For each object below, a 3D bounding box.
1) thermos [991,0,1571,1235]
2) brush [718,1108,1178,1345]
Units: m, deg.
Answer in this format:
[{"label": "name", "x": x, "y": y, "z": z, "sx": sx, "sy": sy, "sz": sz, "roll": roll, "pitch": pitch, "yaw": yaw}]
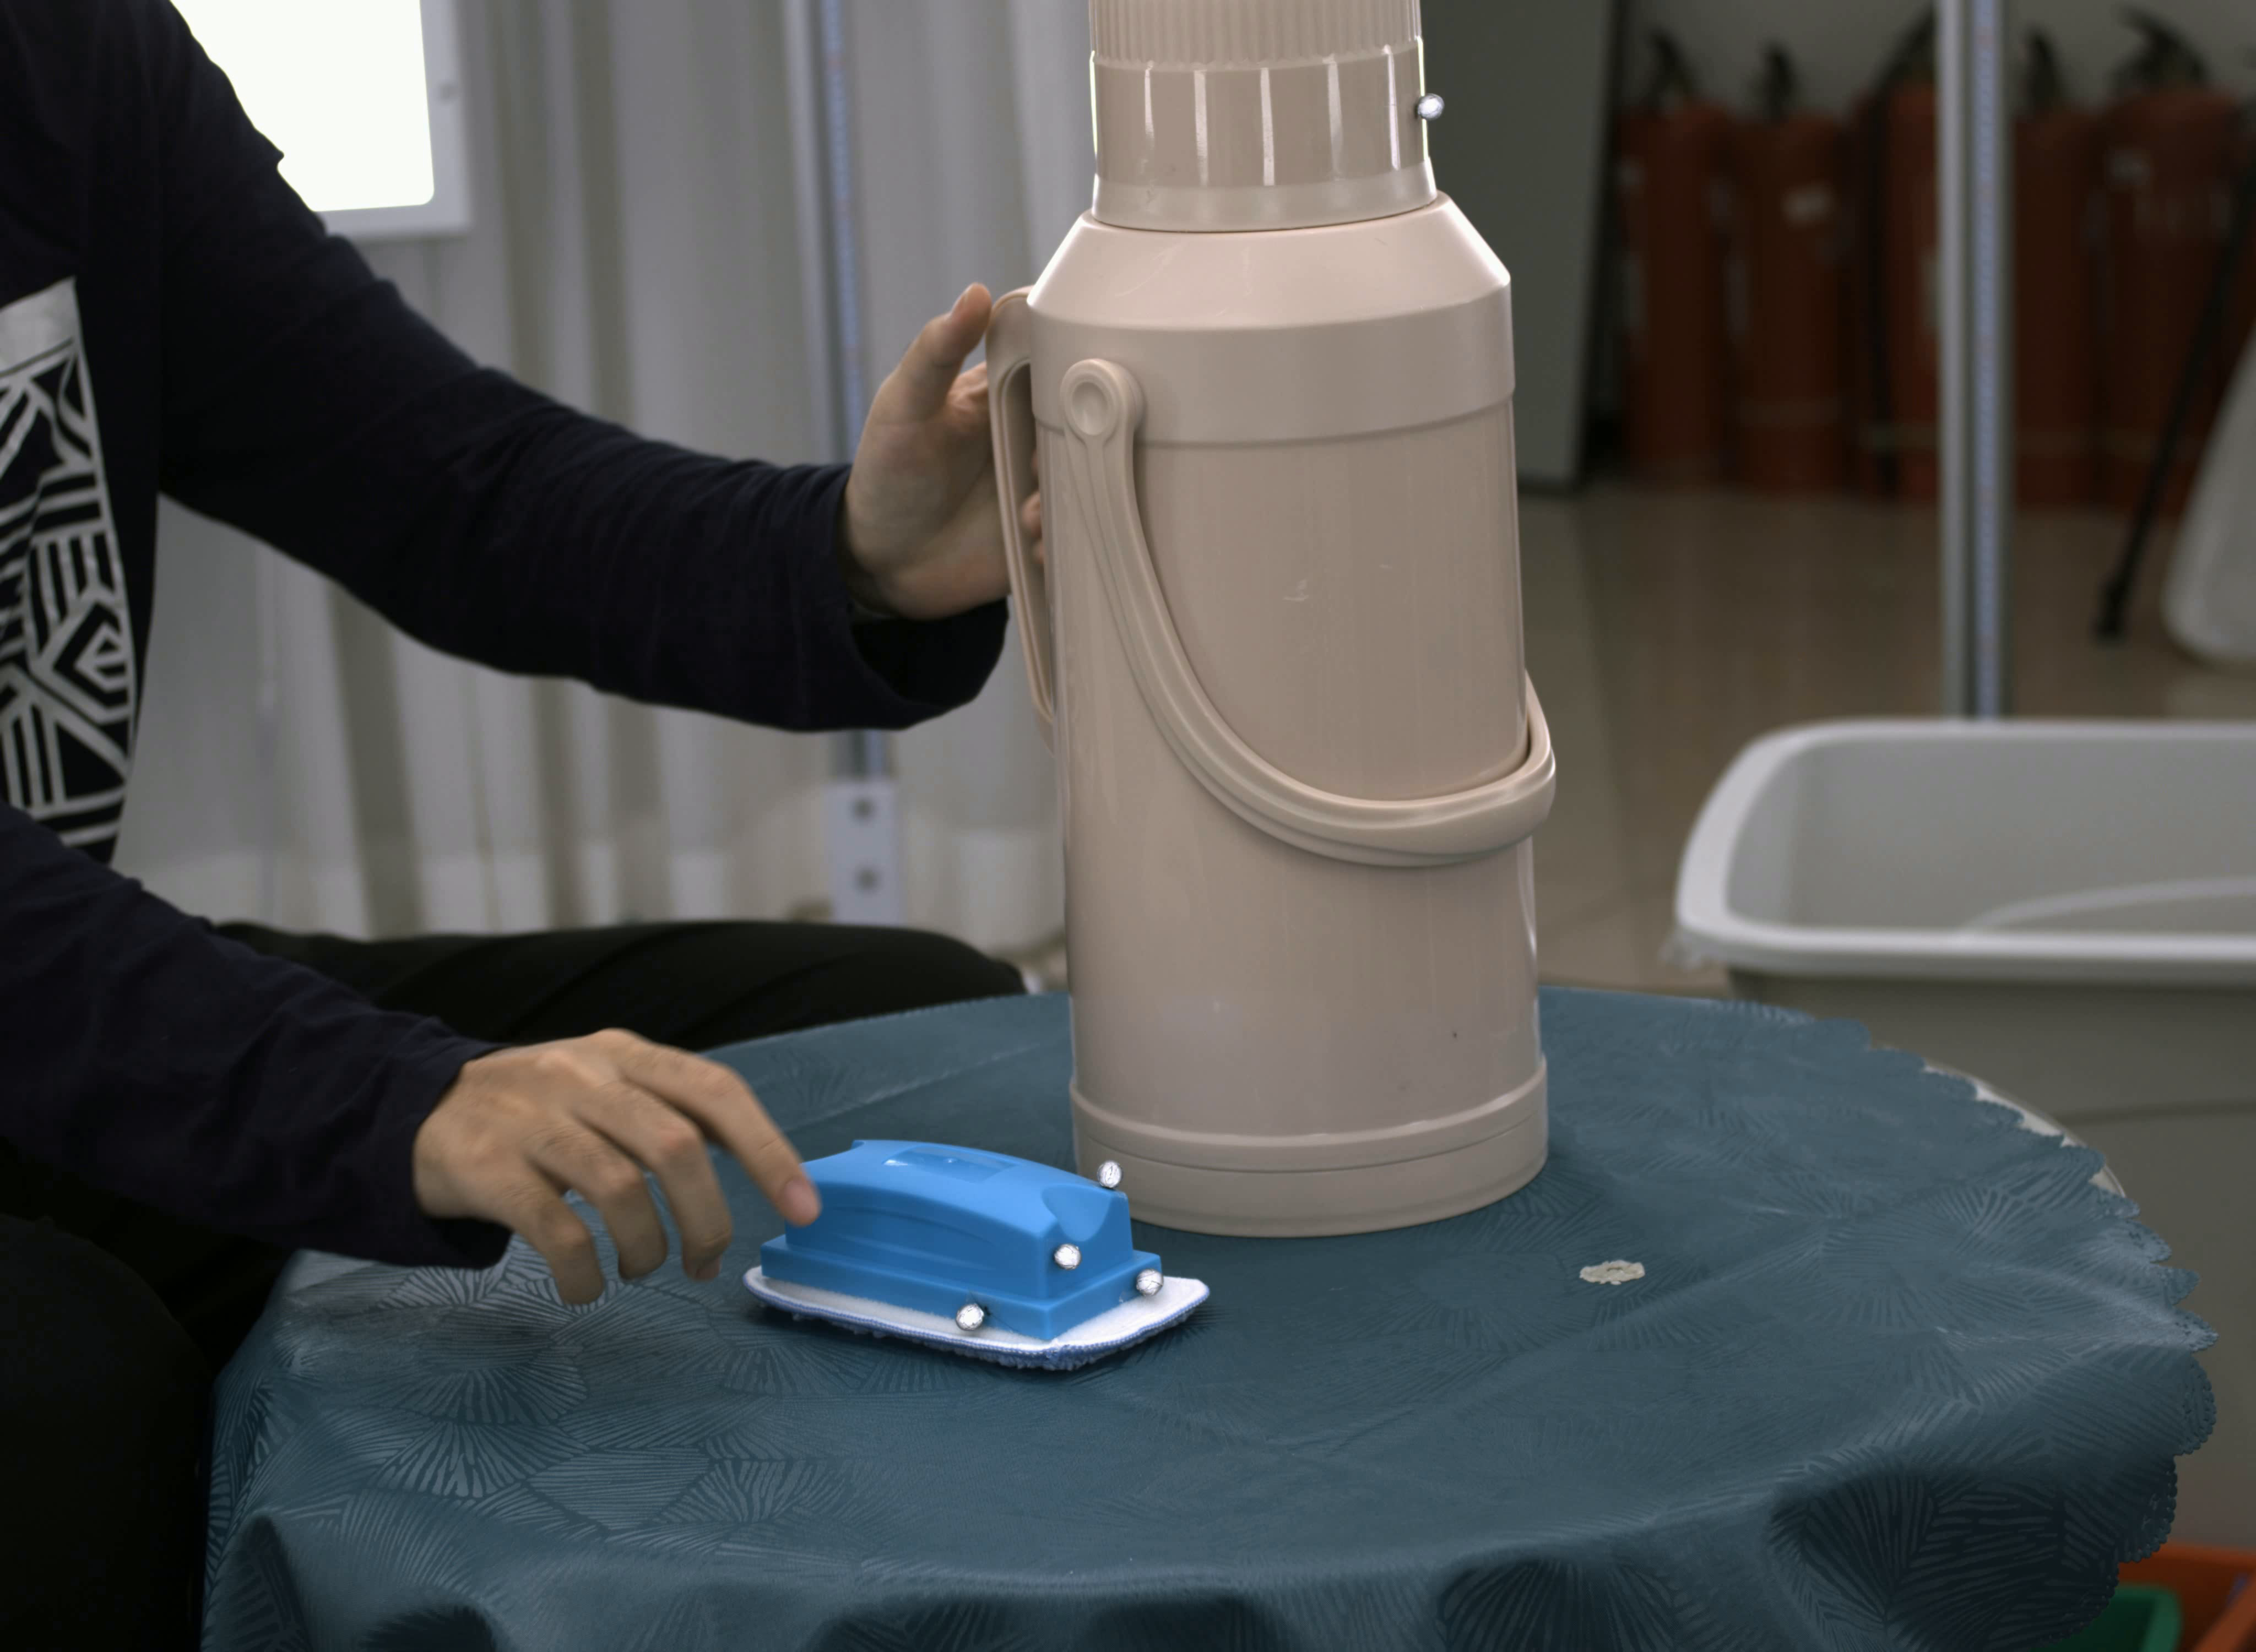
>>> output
[{"label": "thermos", "x": 0.043, "y": -0.083, "z": 1.756, "sx": 0.209, "sy": 0.410, "sz": 0.172, "roll": 7, "pitch": 18, "yaw": 42}, {"label": "brush", "x": -0.055, "y": 0.121, "z": 1.662, "sx": 0.145, "sy": 0.056, "sz": 0.082, "roll": 12, "pitch": 18, "yaw": 42}]
